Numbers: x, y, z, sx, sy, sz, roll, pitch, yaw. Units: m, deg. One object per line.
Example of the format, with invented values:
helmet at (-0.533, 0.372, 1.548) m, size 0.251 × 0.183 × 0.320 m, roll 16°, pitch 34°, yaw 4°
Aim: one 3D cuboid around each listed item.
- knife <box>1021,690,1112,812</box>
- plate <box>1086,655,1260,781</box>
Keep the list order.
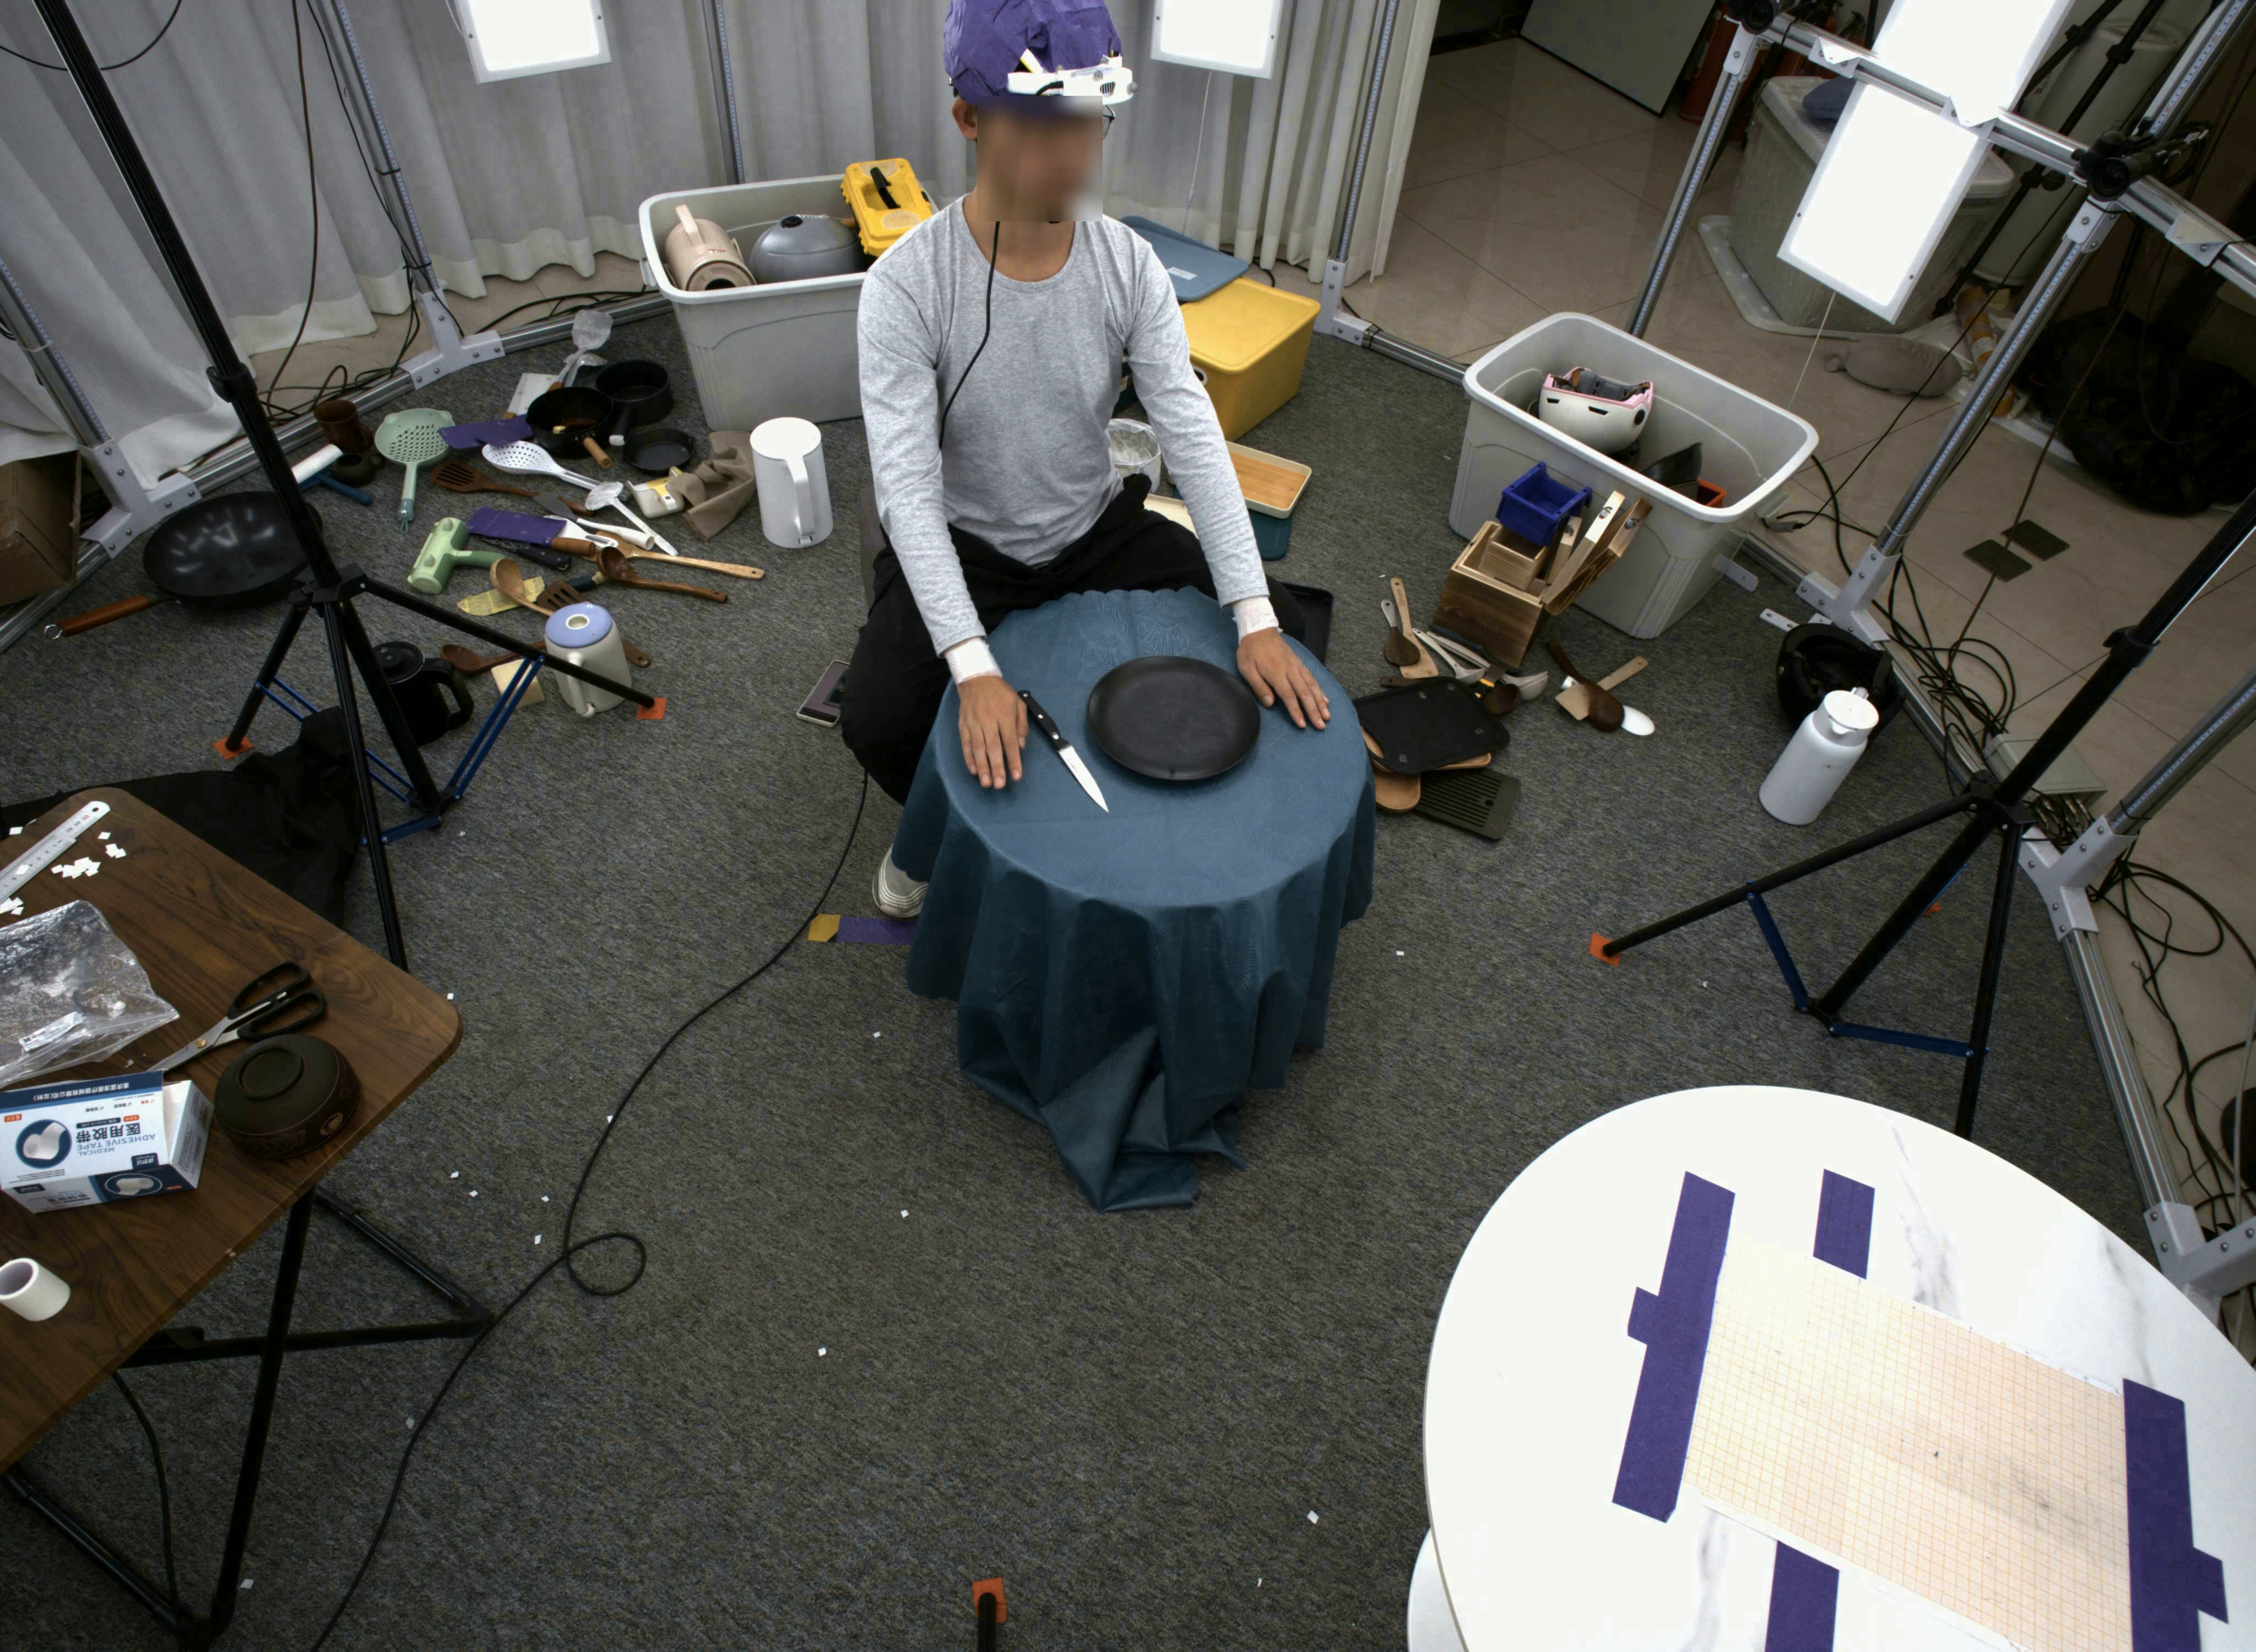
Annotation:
knife at (-0.086, -0.102, 1.743) m, size 0.024 × 0.016 × 0.243 m, roll -25°, pitch 58°, yaw -19°
plate at (0.063, -0.149, 1.786) m, size 0.244 × 0.023 × 0.250 m, roll 2°, pitch 49°, yaw -2°
